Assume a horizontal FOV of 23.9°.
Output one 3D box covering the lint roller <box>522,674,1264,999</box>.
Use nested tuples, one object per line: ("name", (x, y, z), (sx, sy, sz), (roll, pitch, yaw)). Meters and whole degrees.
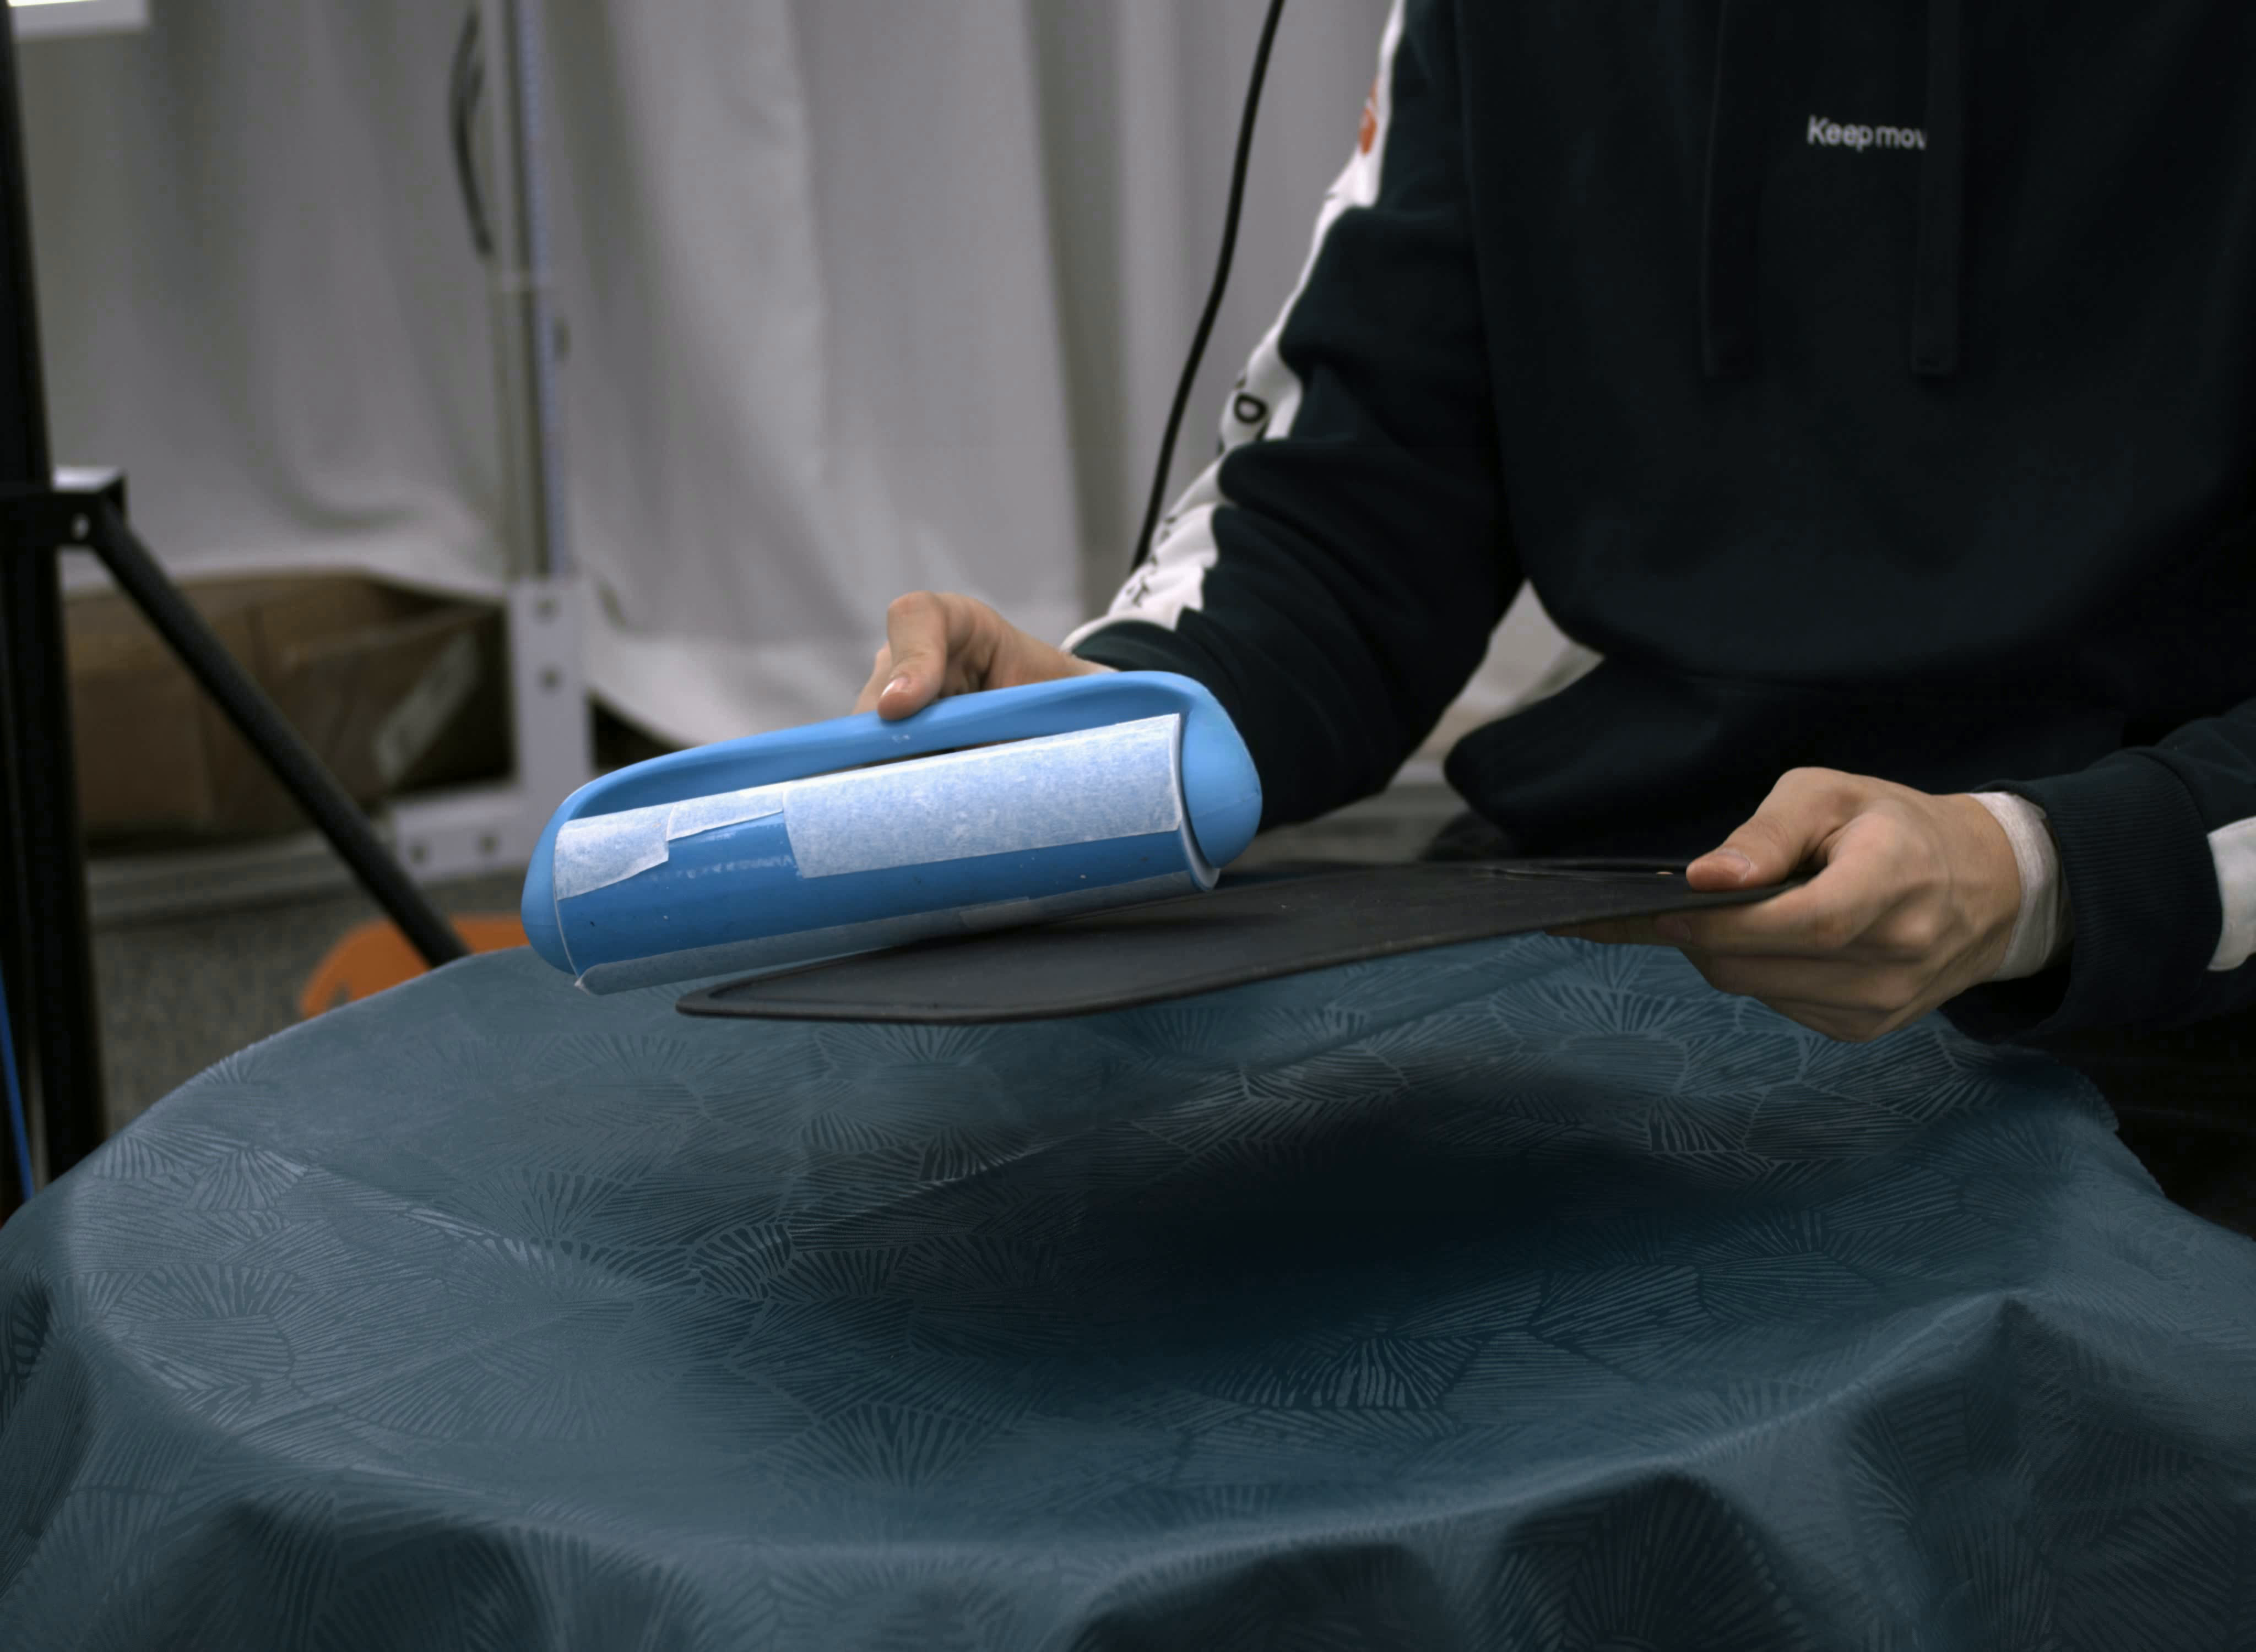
("lint roller", (-0.063, -0.005, 1.632), (0.230, 0.068, 0.179), (-12, 11, 12))

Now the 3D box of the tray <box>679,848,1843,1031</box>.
("tray", (0.045, 0.029, 1.517), (0.317, 0.010, 0.215), (-9, 6, -34))
